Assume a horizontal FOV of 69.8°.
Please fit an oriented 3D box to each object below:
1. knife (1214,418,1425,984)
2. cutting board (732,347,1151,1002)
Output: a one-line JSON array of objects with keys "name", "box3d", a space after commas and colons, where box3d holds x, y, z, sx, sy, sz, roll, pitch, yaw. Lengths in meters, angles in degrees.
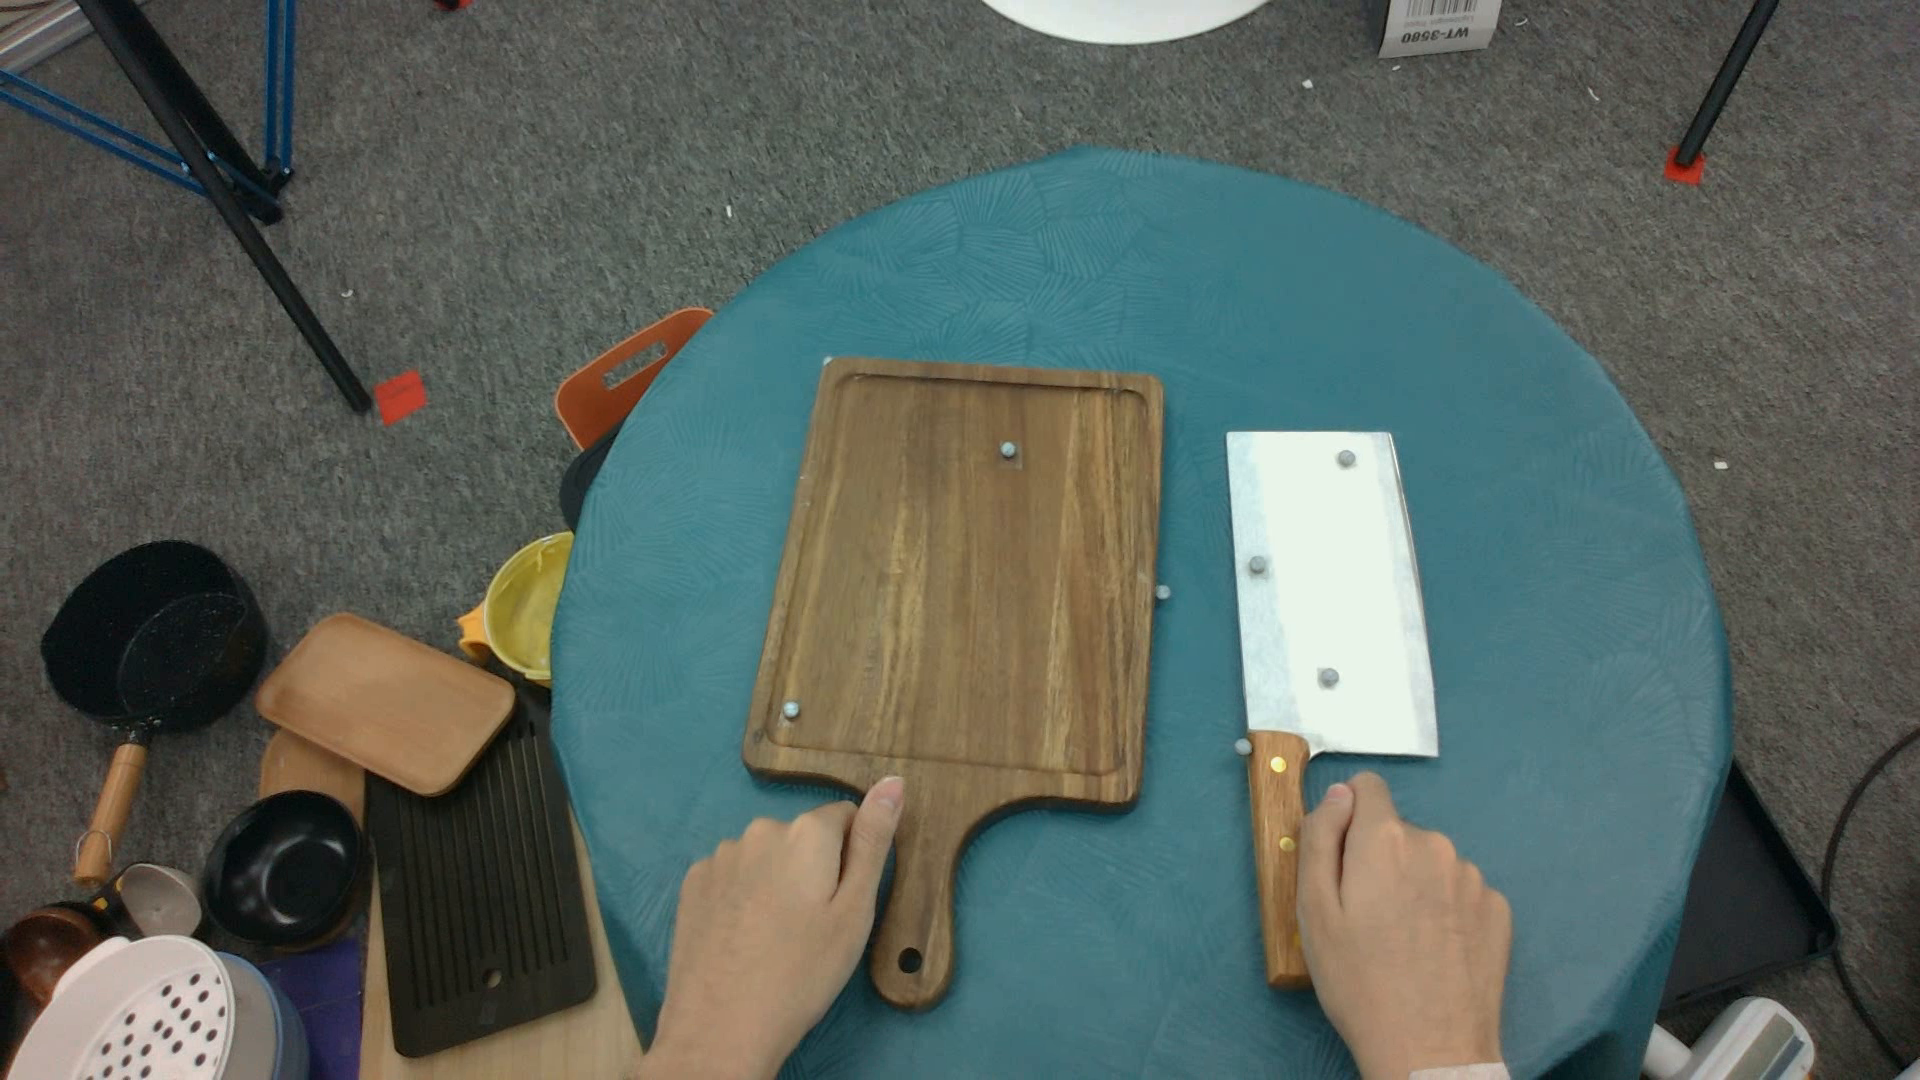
[{"name": "knife", "box3d": [0.179, 0.063, 0.680, 0.093, 0.021, 0.307, 1, 58, 3]}, {"name": "cutting board", "box3d": [-0.007, 0.050, 0.698, 0.201, 0.023, 0.353, 4, 61, 6]}]
